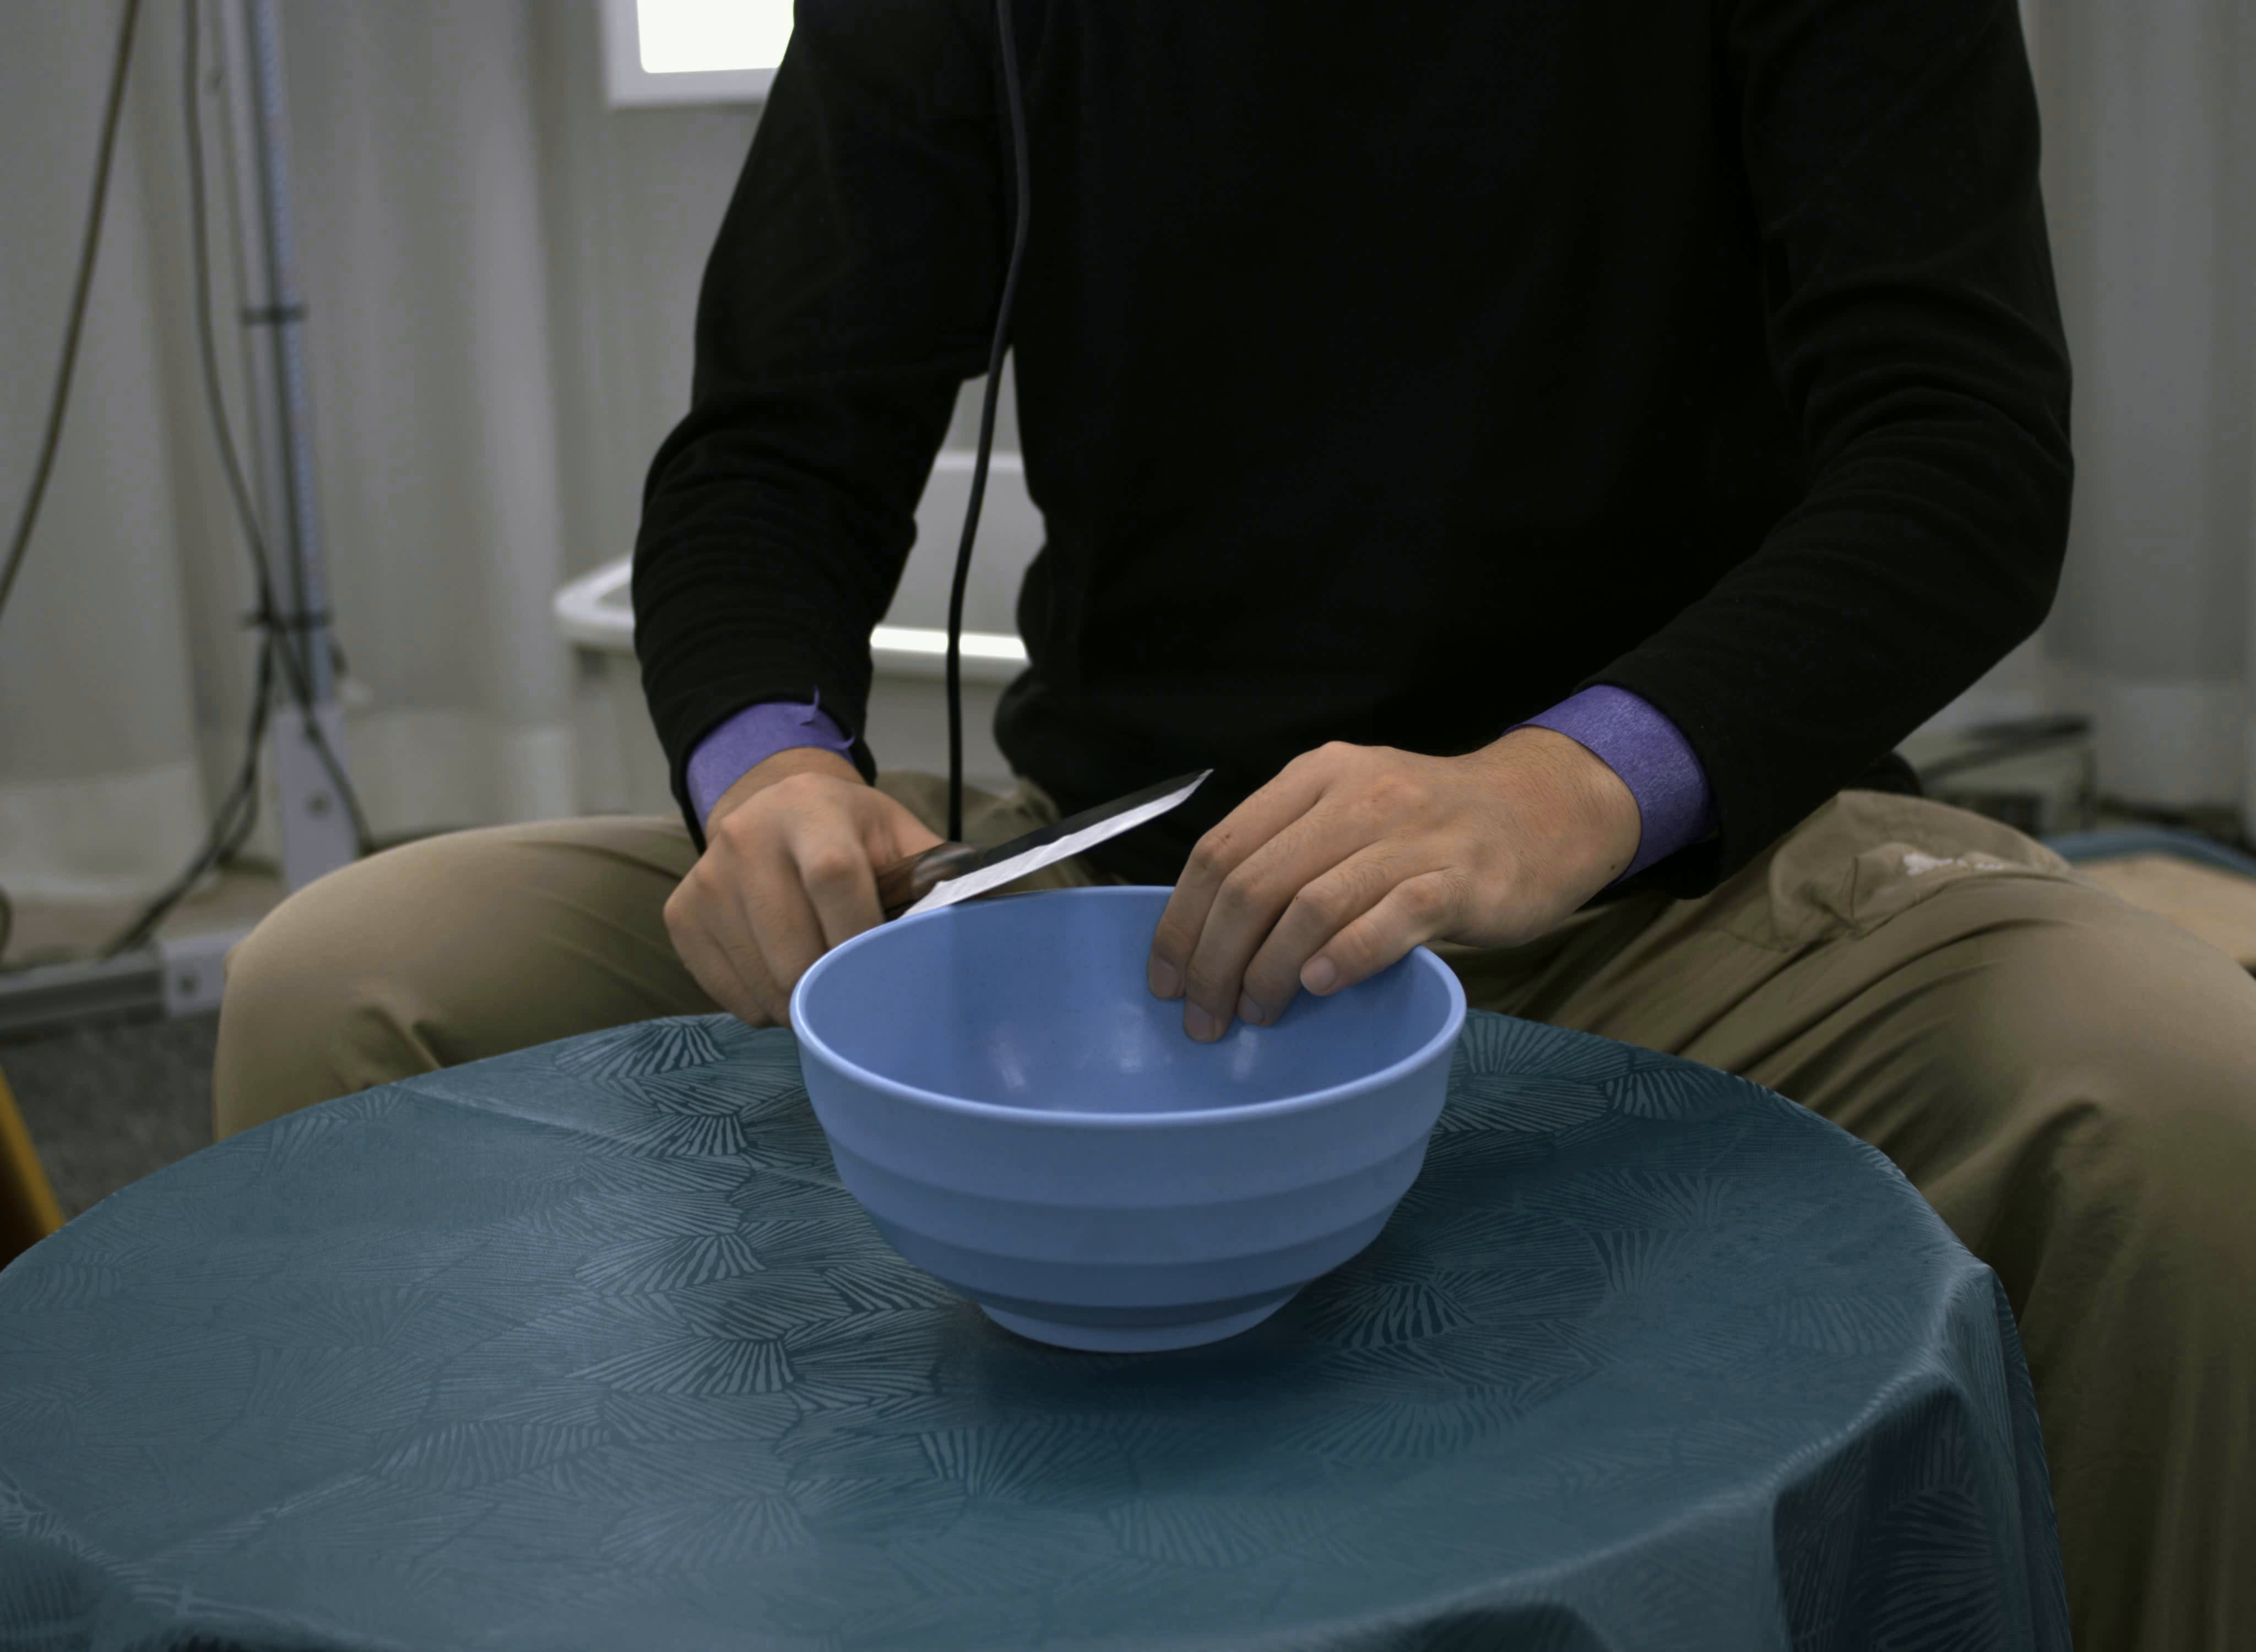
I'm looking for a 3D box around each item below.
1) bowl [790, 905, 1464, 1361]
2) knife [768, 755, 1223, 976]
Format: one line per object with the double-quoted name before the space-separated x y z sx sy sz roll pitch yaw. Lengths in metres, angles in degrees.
"bowl" 0.000 0.096 1.600 0.196 0.095 0.198 0 16 0
"knife" -0.043 0.013 1.691 0.050 0.020 0.288 -39 9 -29
